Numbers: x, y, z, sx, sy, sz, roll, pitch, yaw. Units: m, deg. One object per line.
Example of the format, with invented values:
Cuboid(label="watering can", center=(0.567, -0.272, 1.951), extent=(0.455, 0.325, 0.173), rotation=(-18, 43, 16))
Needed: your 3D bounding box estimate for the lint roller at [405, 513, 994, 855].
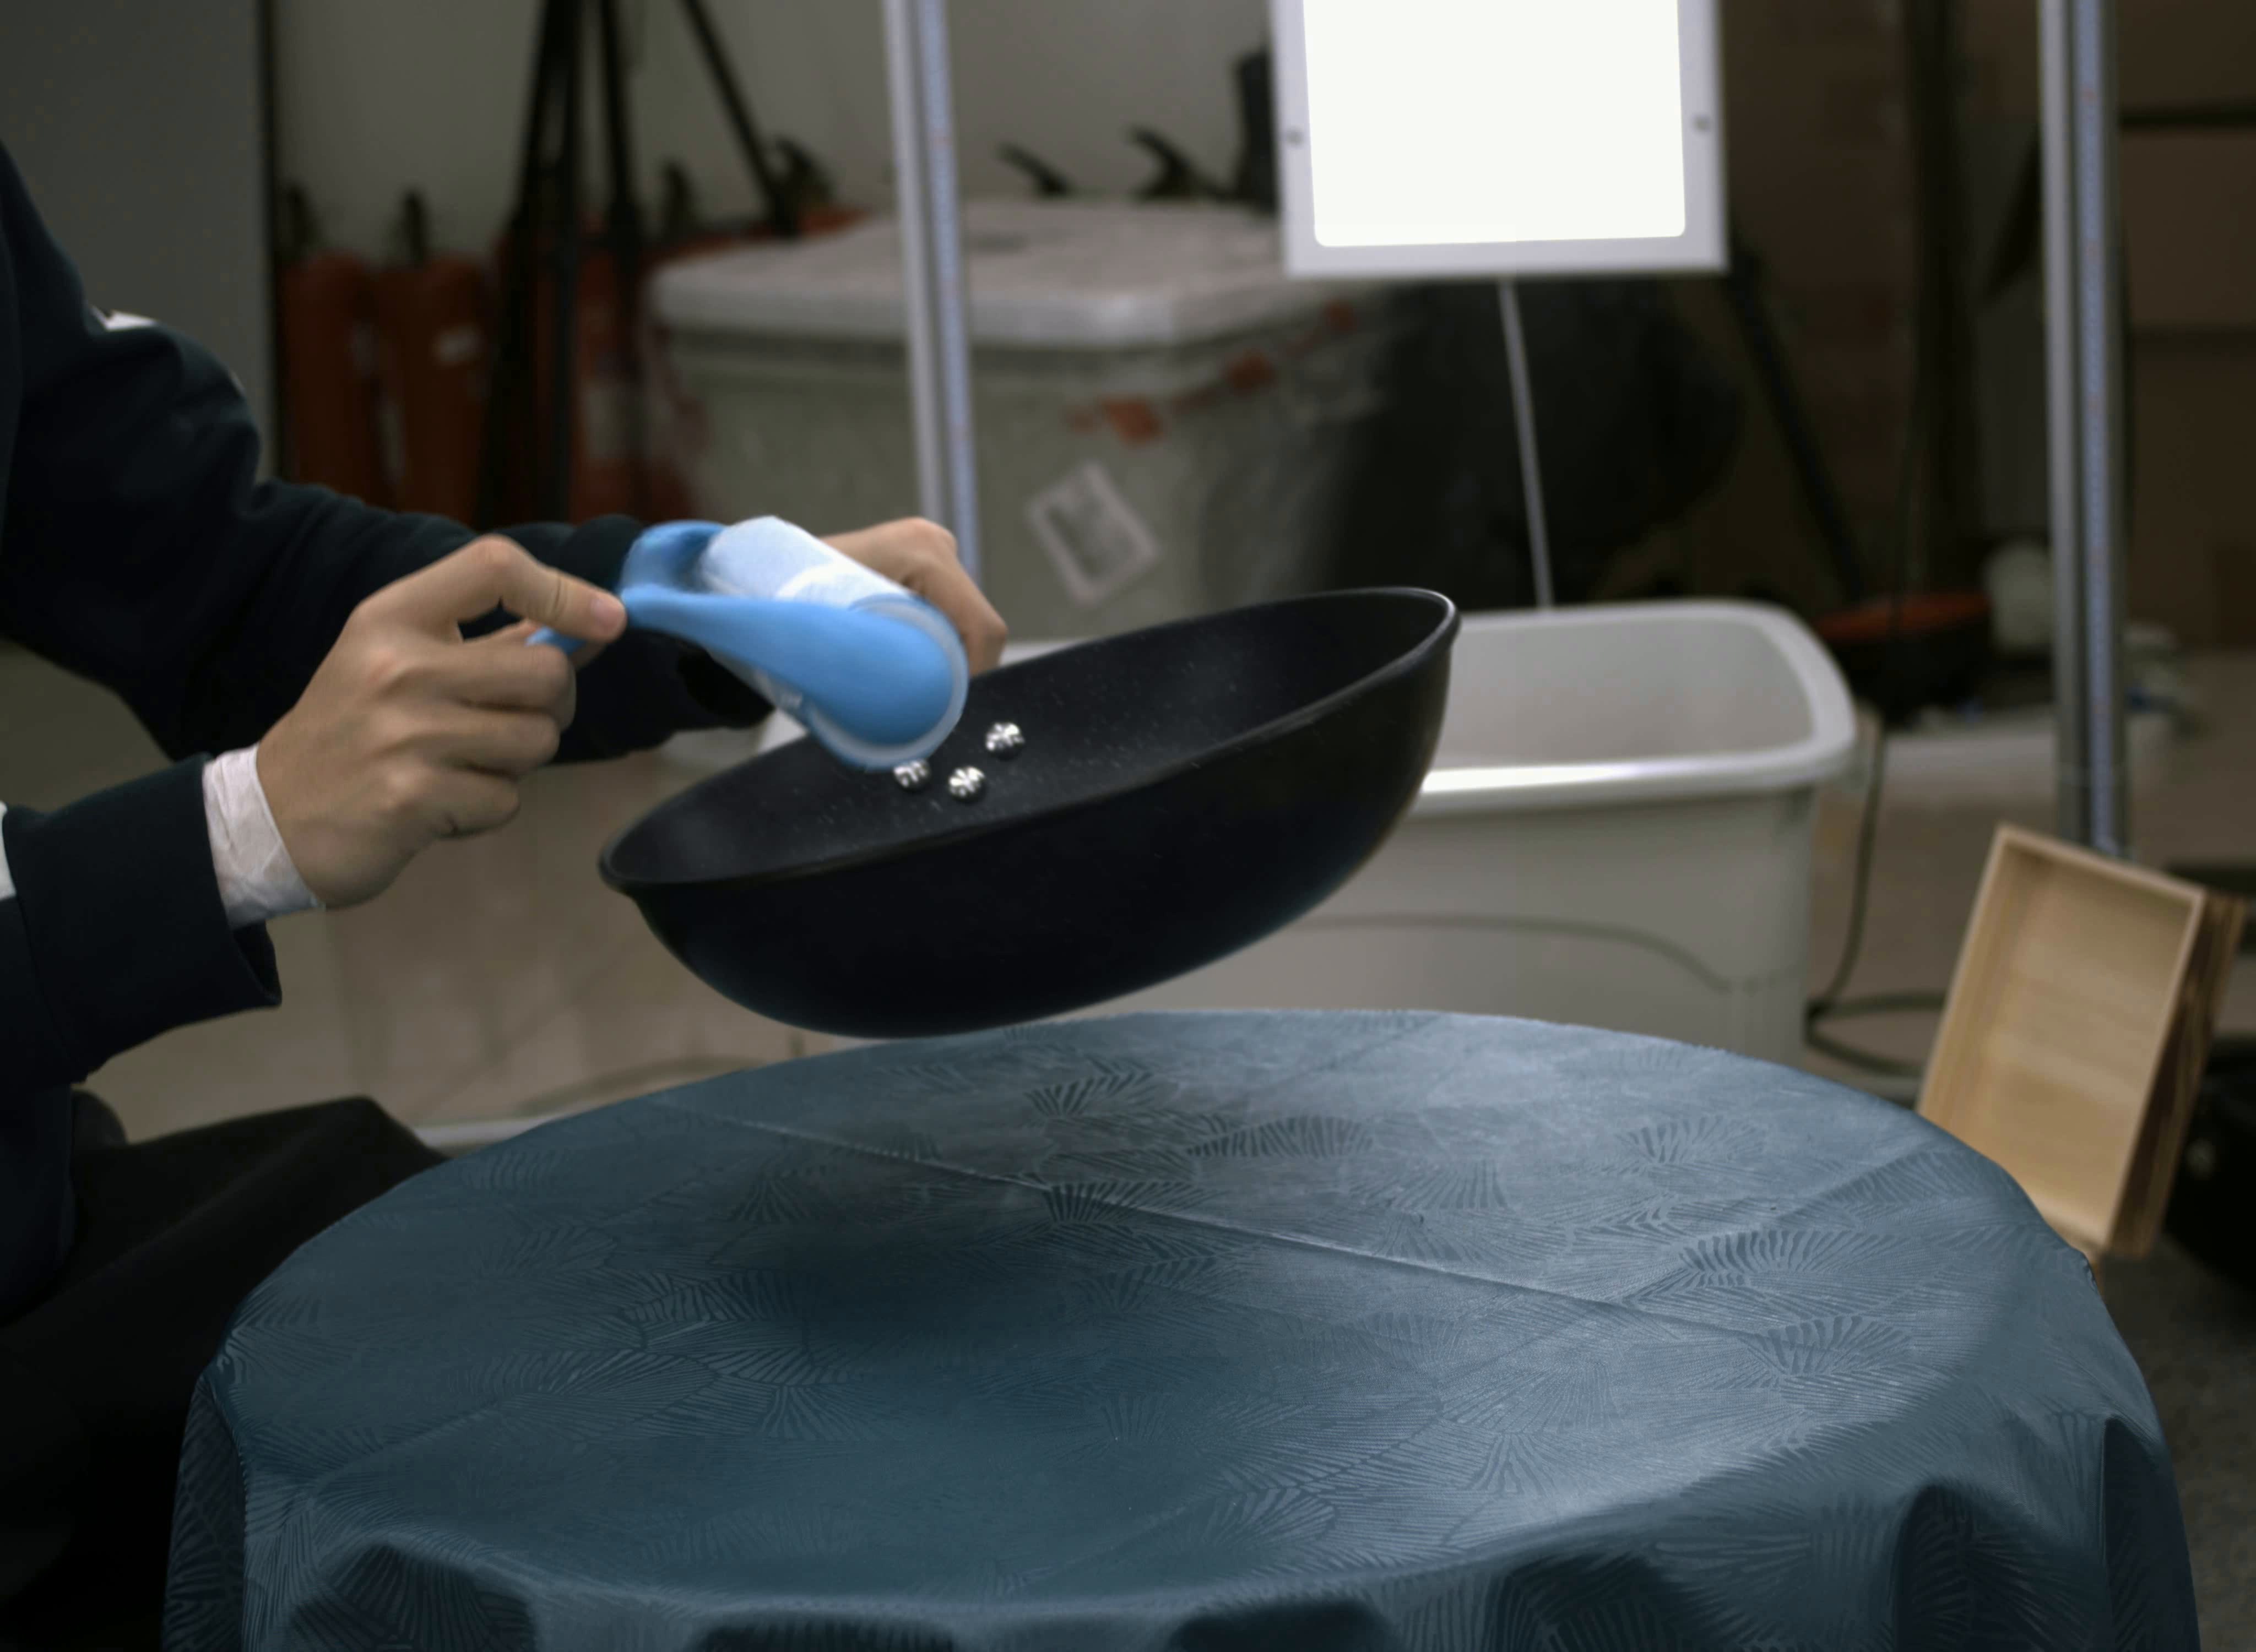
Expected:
Cuboid(label="lint roller", center=(-0.150, -0.048, 1.753), extent=(0.177, 0.068, 0.232), rotation=(-19, 16, -16))

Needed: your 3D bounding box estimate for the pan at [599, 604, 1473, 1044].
Cuboid(label="pan", center=(-0.046, -0.012, 1.966), extent=(0.307, 0.112, 0.481), rotation=(-18, 10, -11))
